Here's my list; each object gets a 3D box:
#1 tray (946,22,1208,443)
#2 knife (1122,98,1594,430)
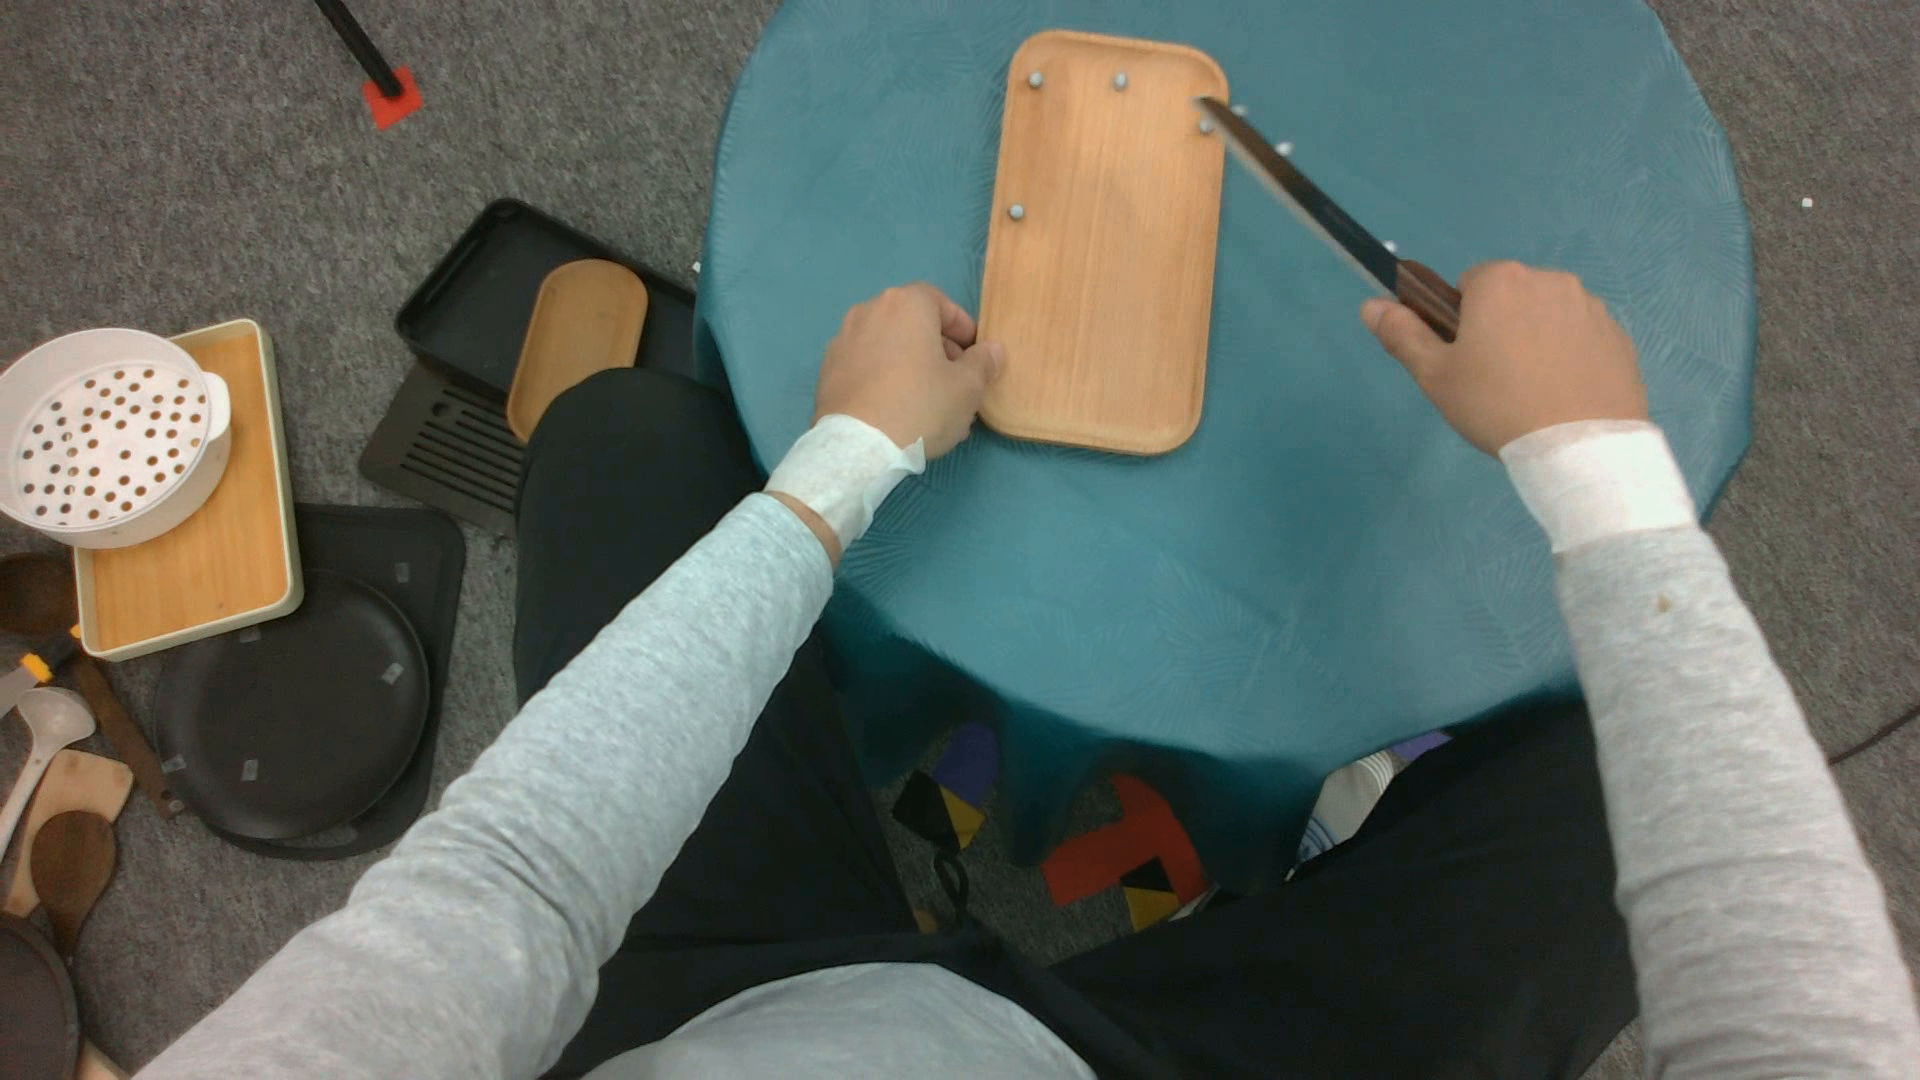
[{"bbox_3d":[0.068,-0.176,0.775,0.130,0.023,0.251,8,75,1],"label":"tray"},{"bbox_3d":[0.182,-0.143,0.672,0.020,0.050,0.289,-45,65,-5],"label":"knife"}]
